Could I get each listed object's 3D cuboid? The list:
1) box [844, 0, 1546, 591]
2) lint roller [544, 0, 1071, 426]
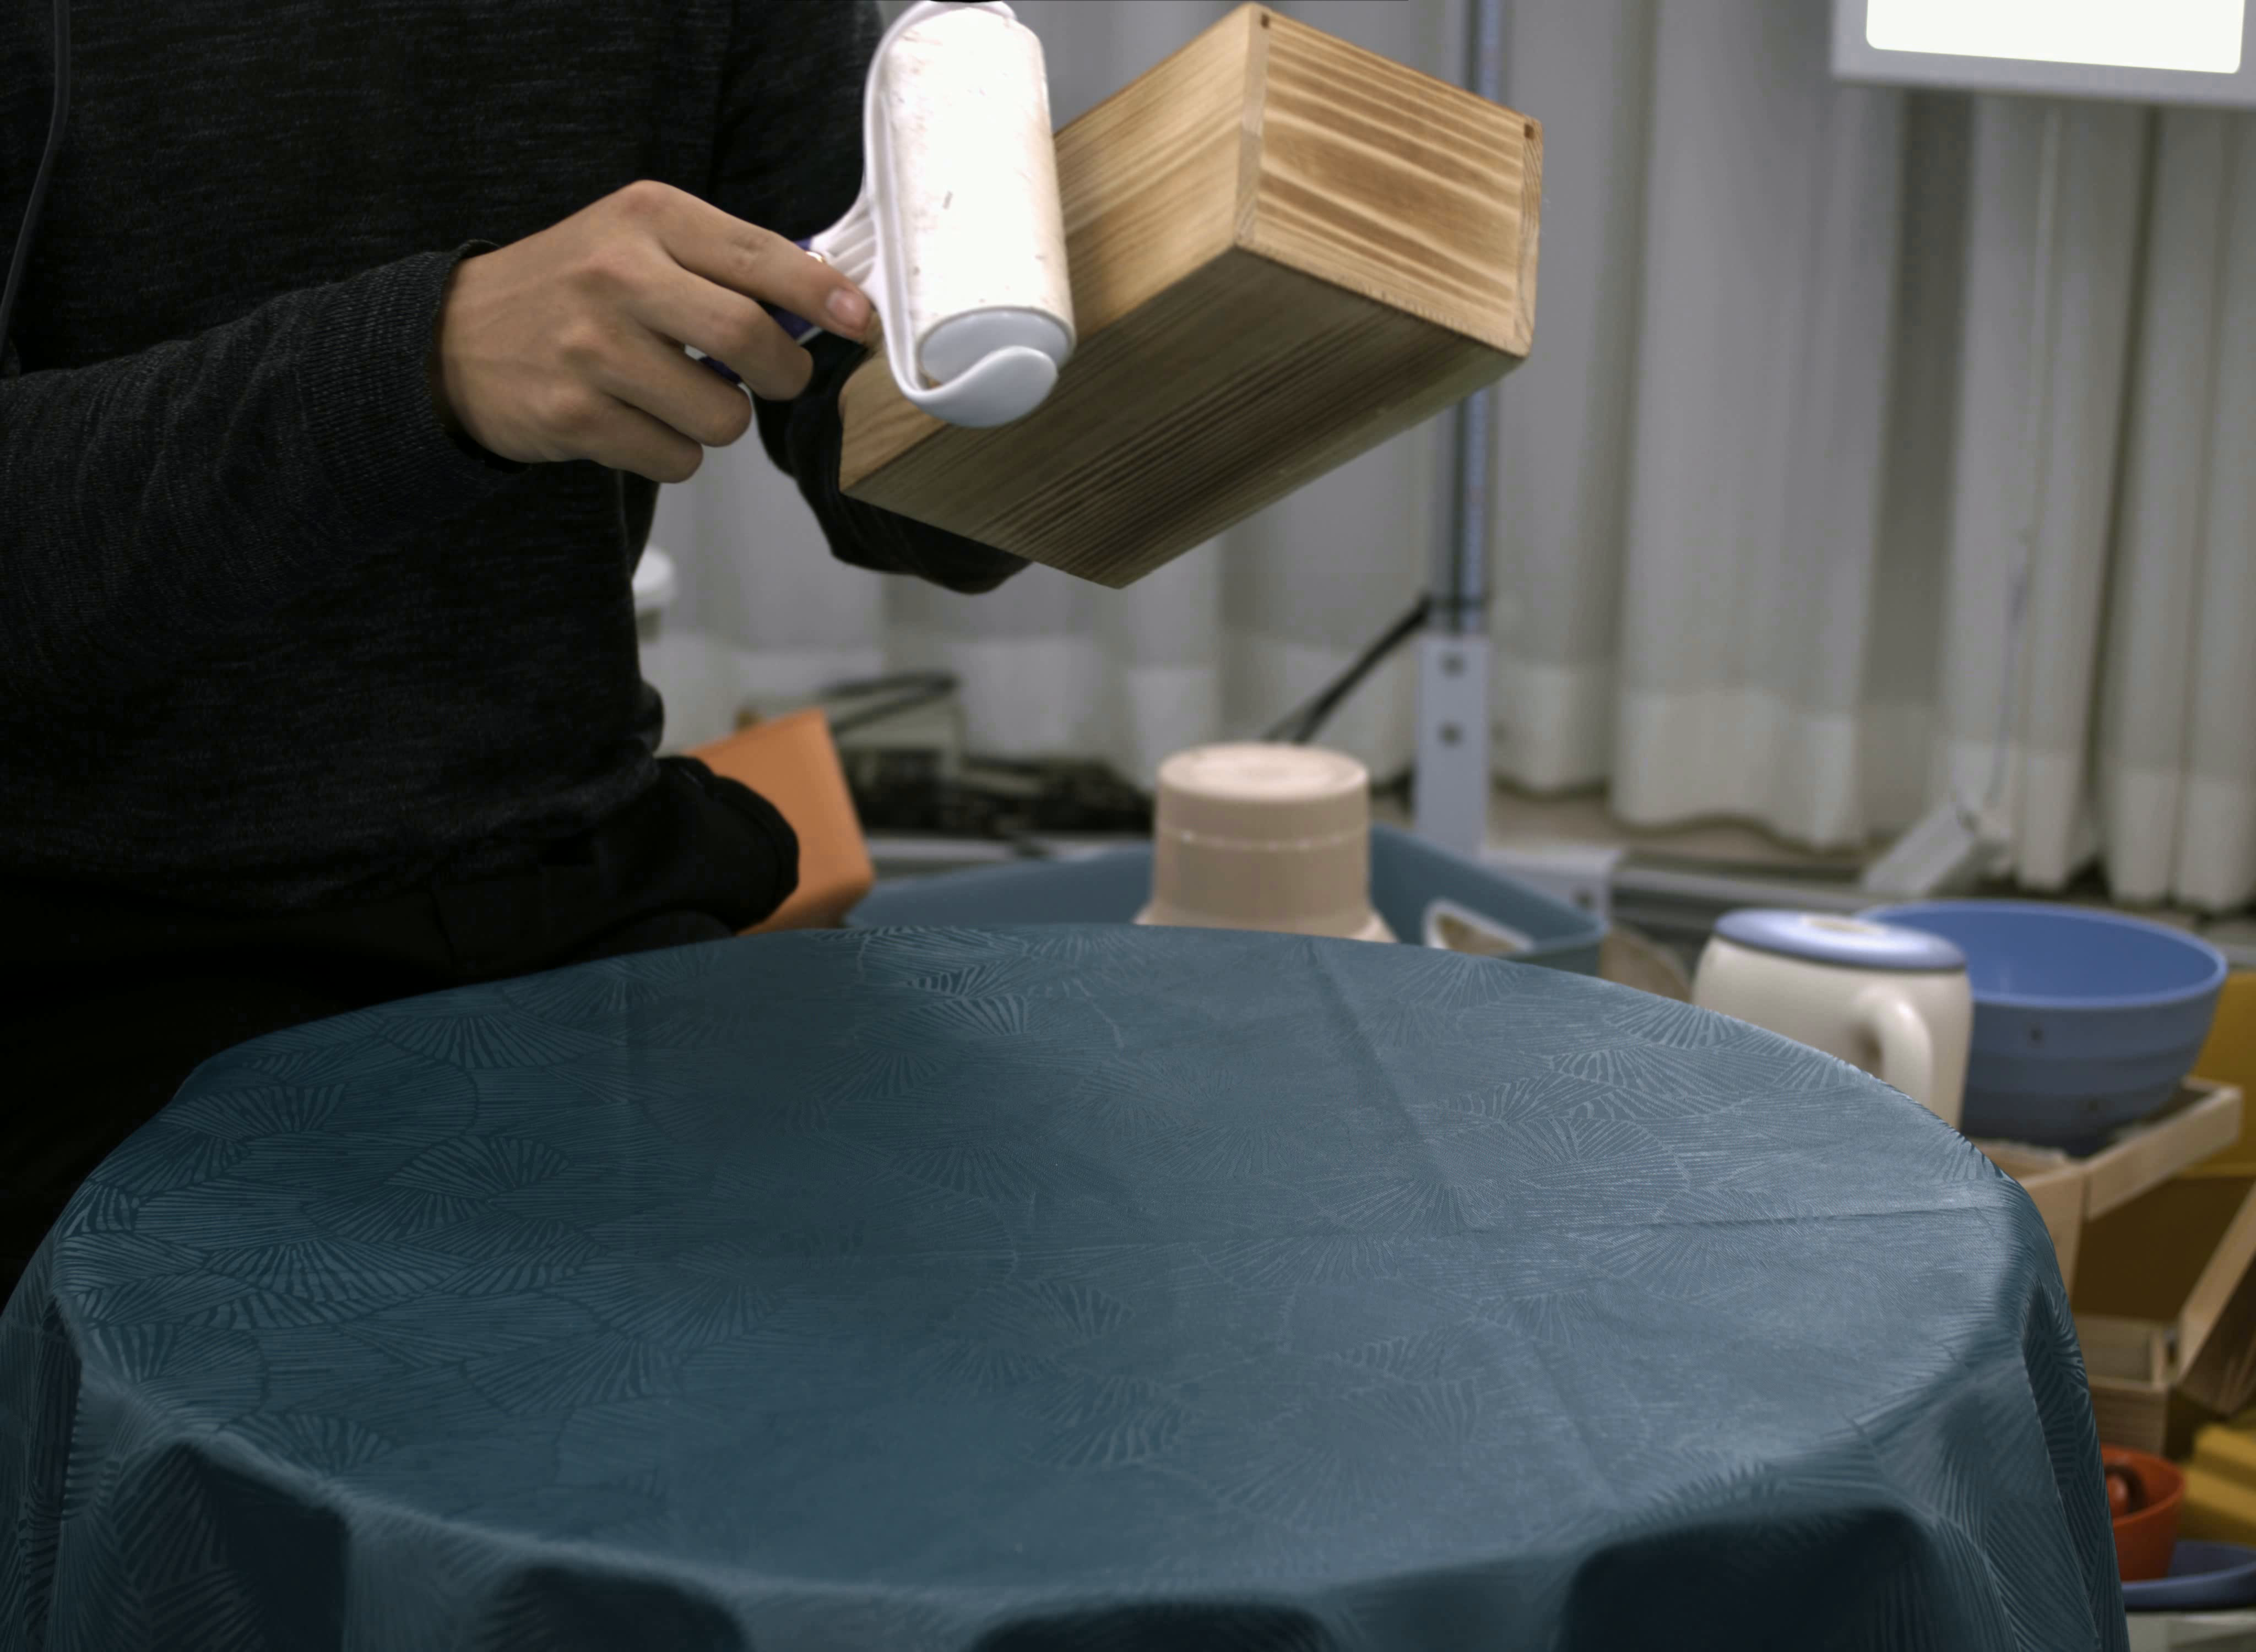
[{"bbox_3d":[0.017,-0.154,1.563,0.108,0.080,0.210,18,-27,-31],"label":"box"},{"bbox_3d":[-0.102,-0.162,1.514,0.179,0.132,0.051,-17,-25,22],"label":"lint roller"}]
